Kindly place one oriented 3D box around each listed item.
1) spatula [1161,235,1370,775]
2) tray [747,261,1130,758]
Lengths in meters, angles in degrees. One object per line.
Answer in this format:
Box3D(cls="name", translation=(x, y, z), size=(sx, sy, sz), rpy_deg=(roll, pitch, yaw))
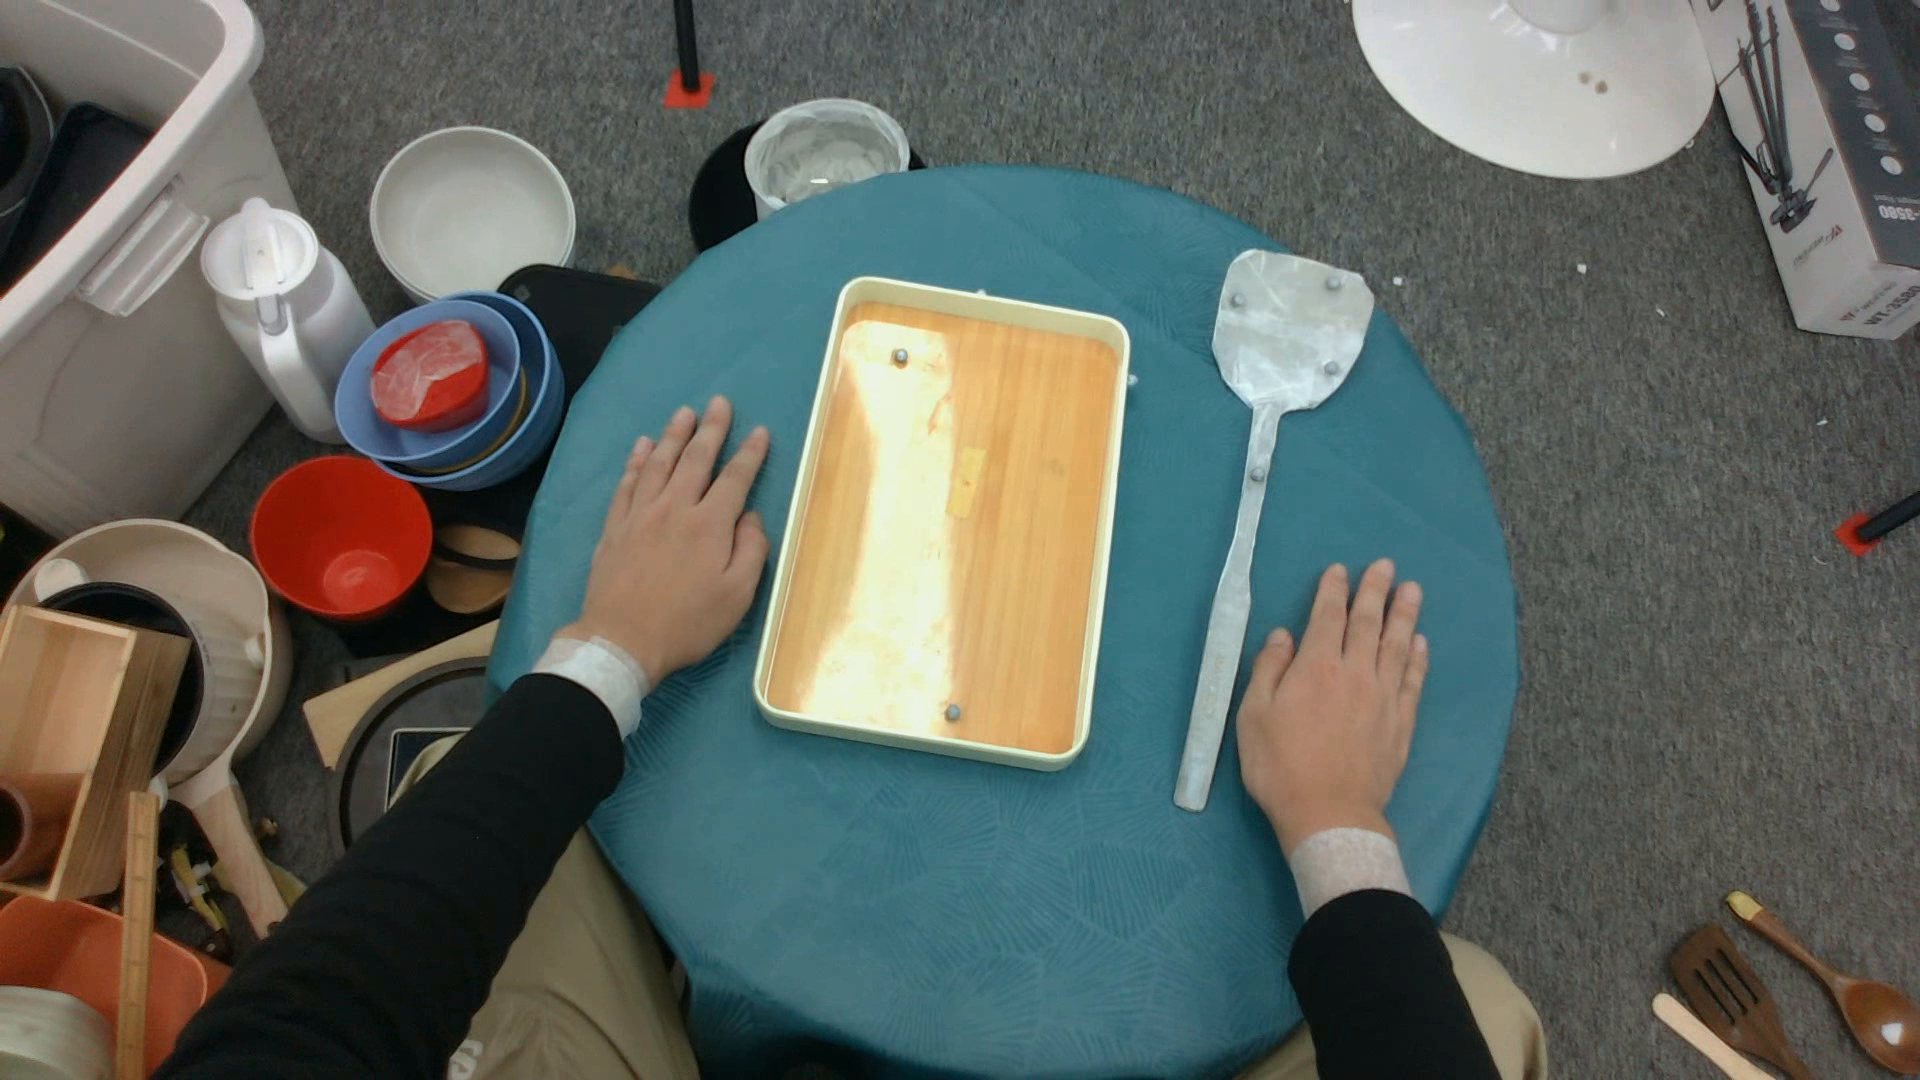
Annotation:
Box3D(cls="spatula", translation=(0.176, -0.029, 0.841), size=(0.099, 0.044, 0.366), rpy_deg=(16, 64, 2))
Box3D(cls="tray", translation=(-0.006, -0.028, 0.830), size=(0.191, 0.027, 0.301), rpy_deg=(10, 64, -1))
